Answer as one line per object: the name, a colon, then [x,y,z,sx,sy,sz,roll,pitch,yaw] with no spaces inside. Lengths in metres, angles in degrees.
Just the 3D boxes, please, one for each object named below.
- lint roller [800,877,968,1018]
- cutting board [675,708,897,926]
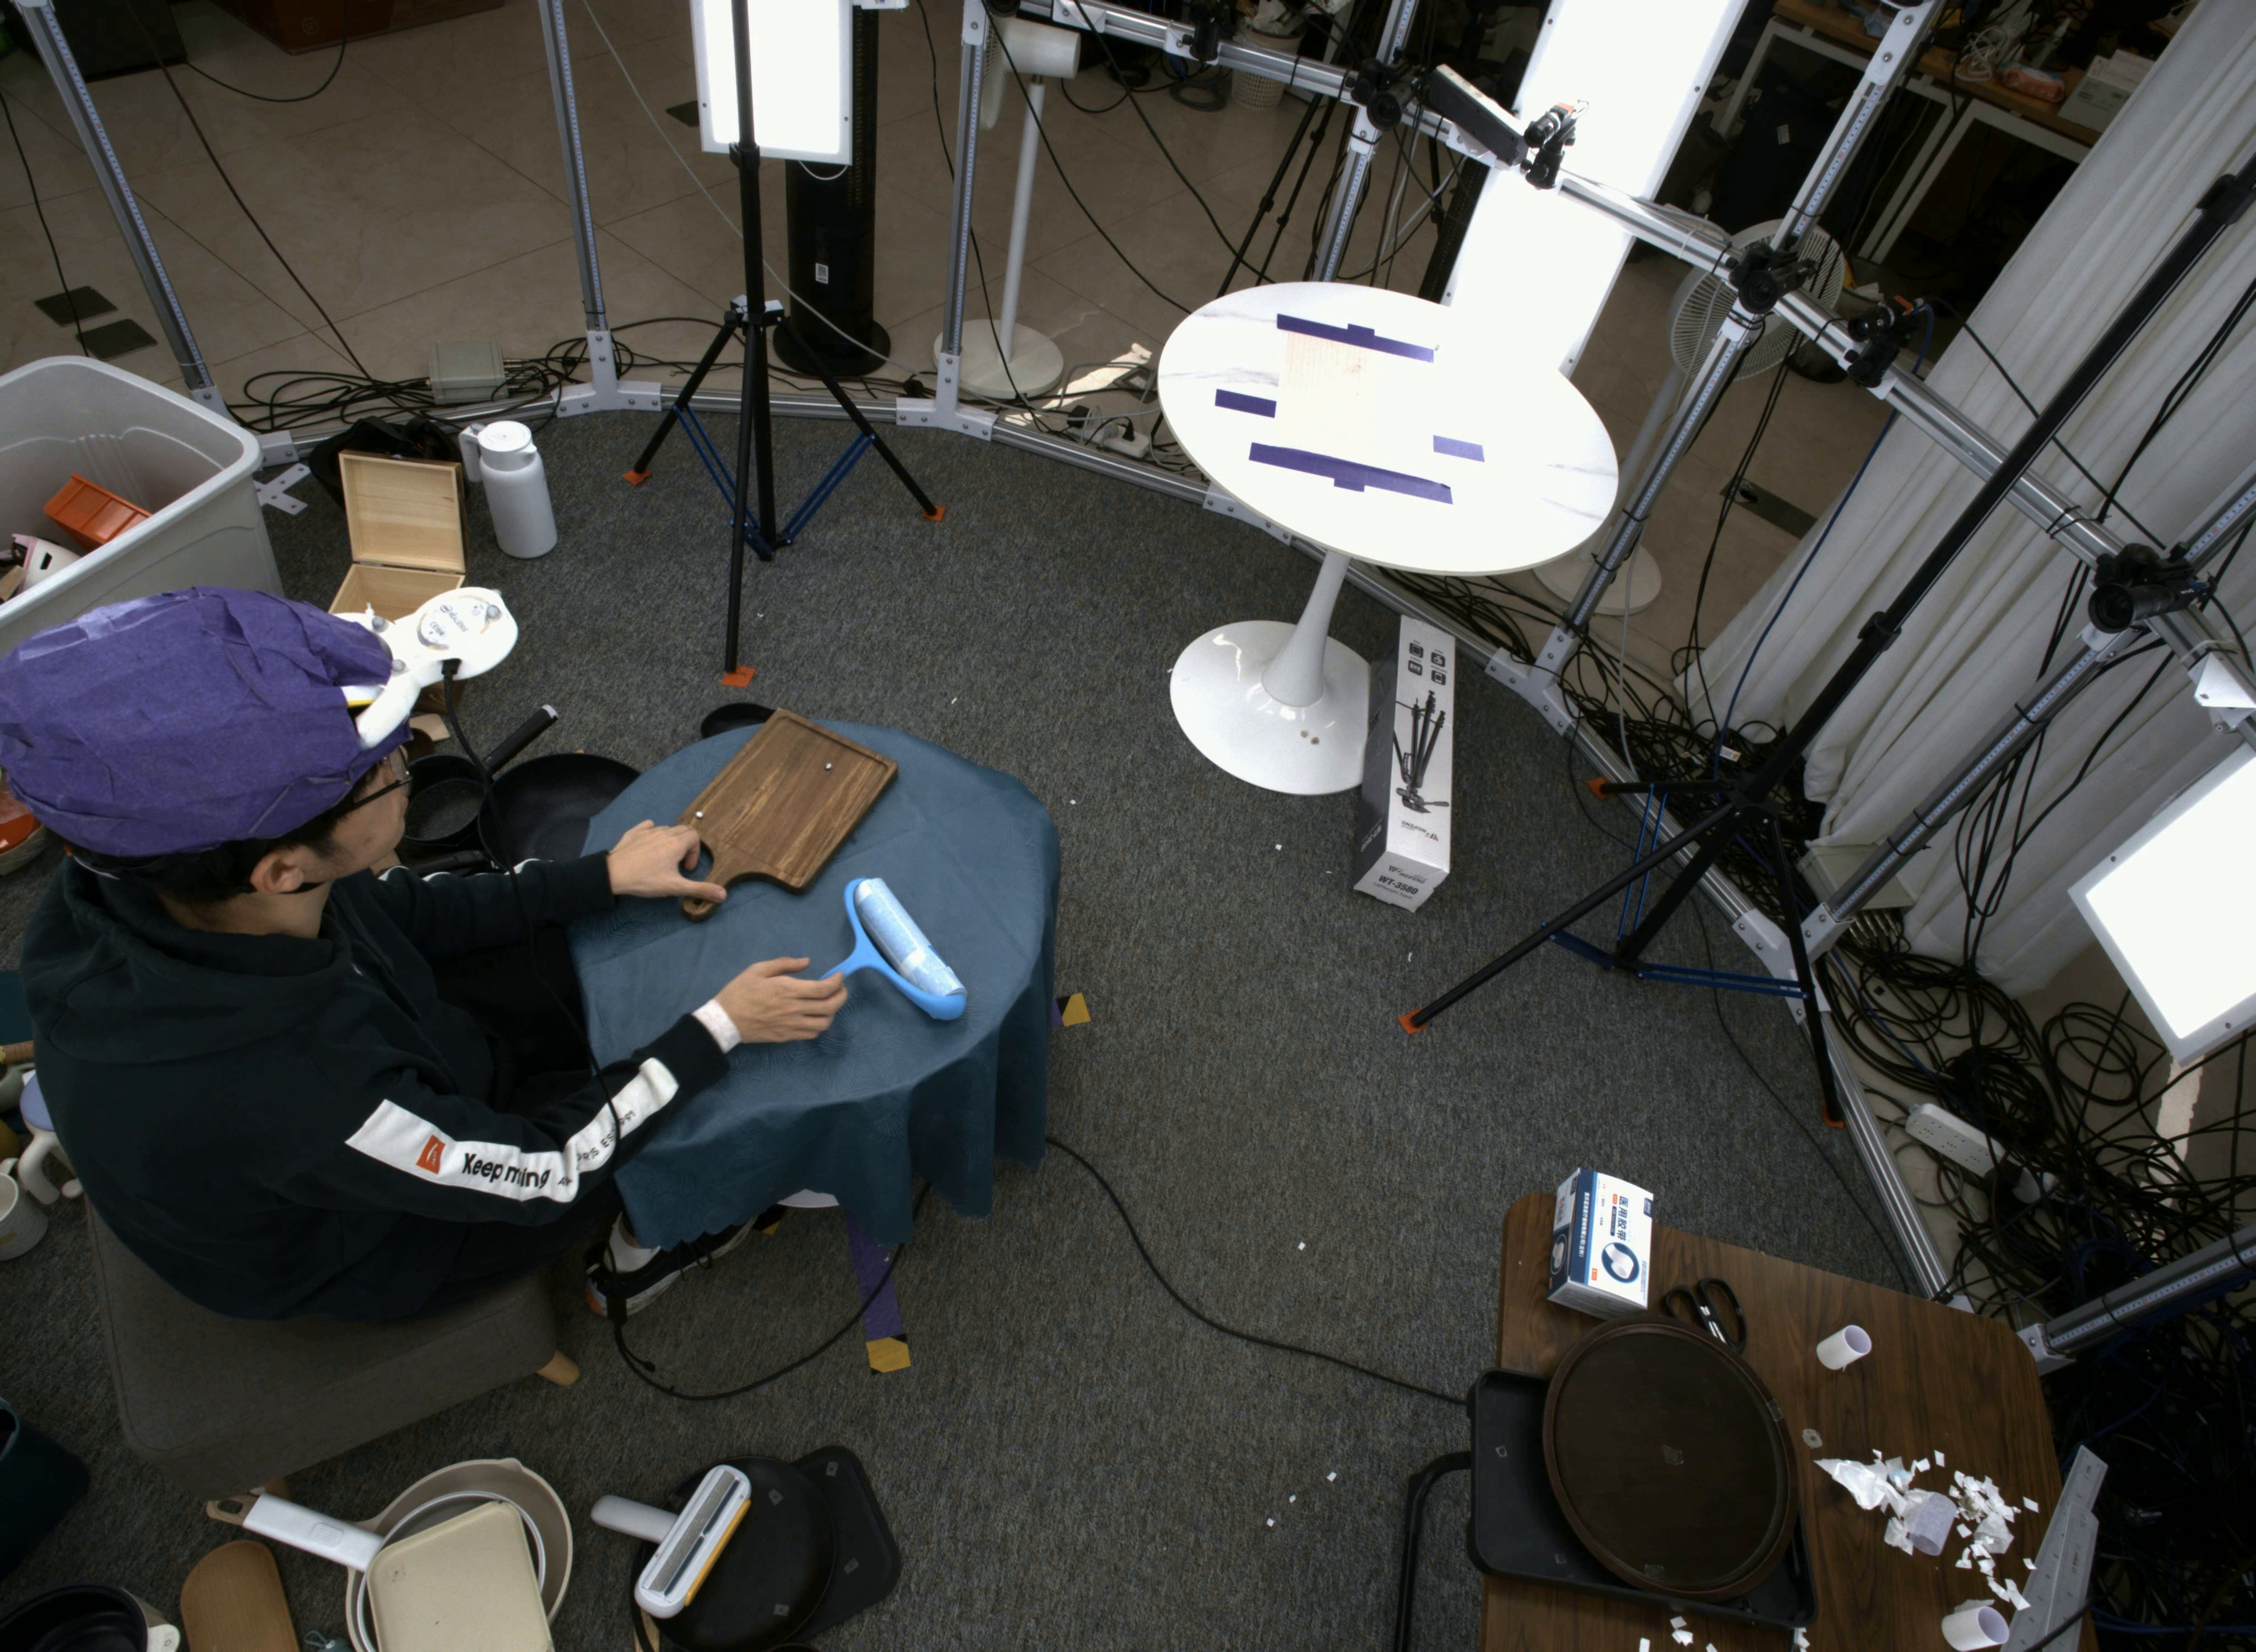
lint roller: [-0.320,0.172,1.593,0.181,0.069,0.224,-31,68,-33]
cutting board: [-0.474,-0.006,1.707,0.198,0.023,0.350,25,52,5]
